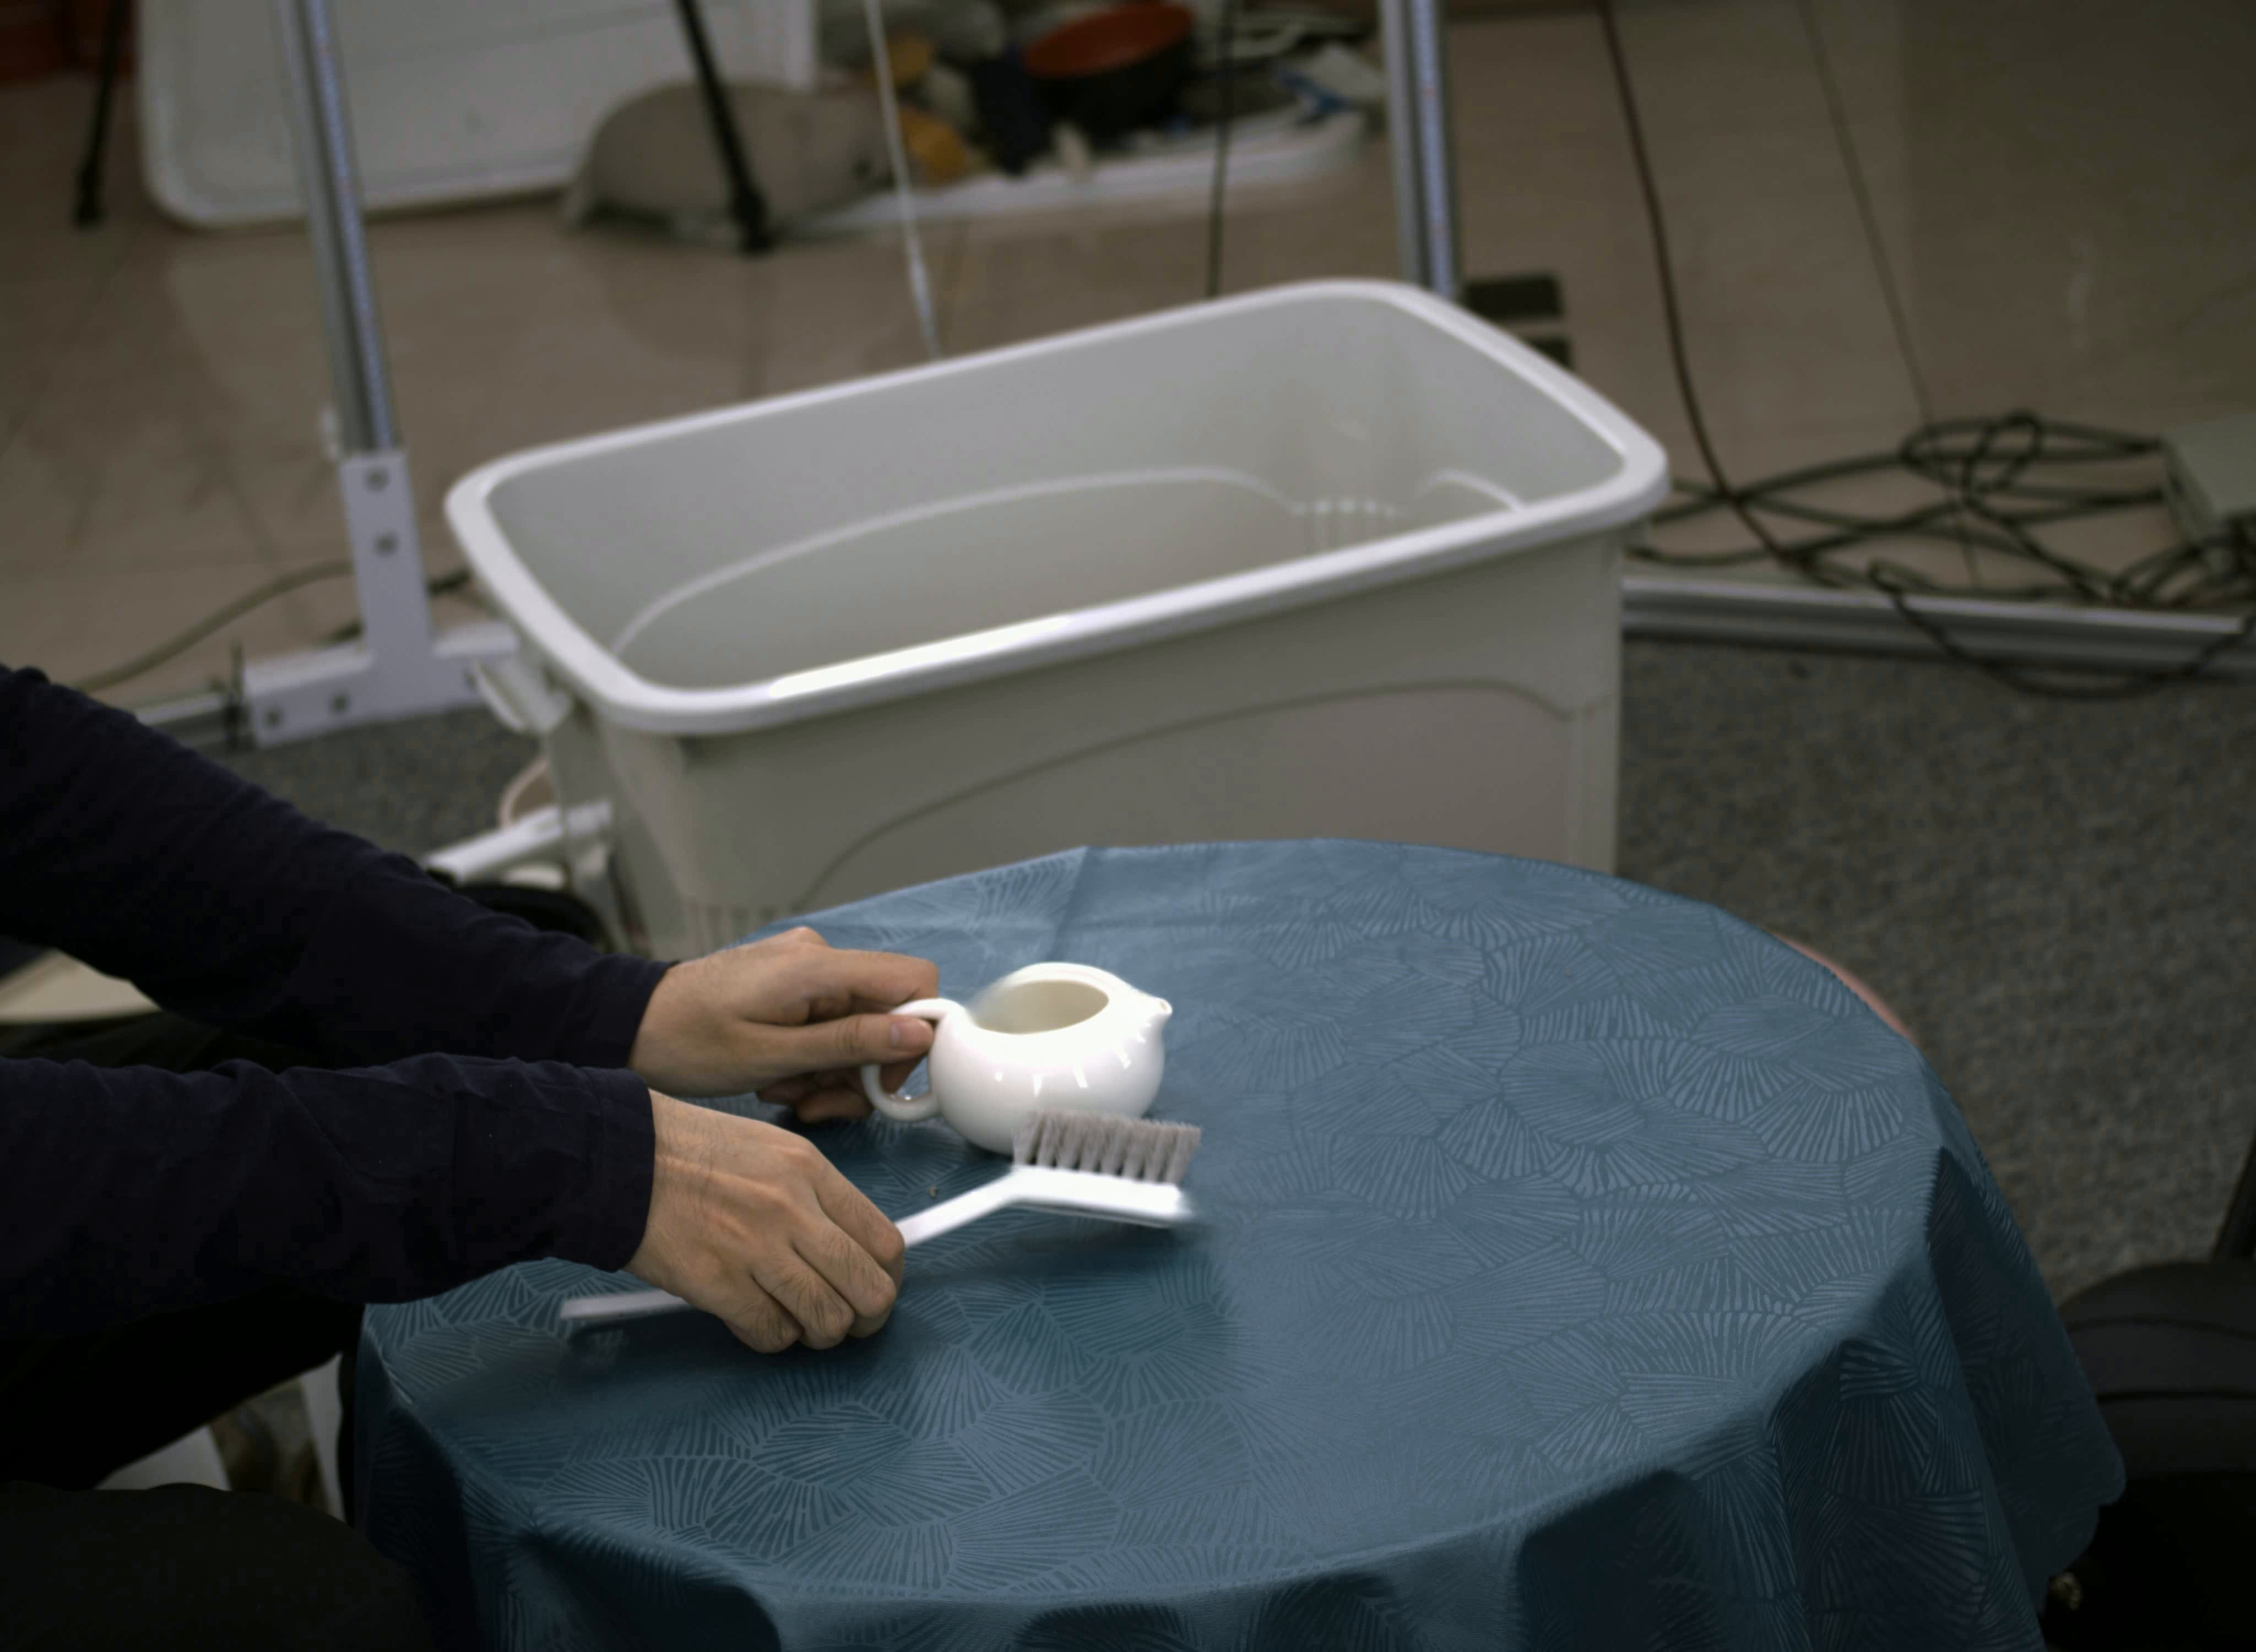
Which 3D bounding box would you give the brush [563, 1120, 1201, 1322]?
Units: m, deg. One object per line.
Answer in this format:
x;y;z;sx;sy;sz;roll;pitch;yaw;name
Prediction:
-0.092;0.144;2.101;0.243;0.050;0.034;-9;4;-1;brush

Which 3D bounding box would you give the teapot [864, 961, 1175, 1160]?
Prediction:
-0.041;0.092;2.196;0.127;0.057;0.092;-4;30;9;teapot
